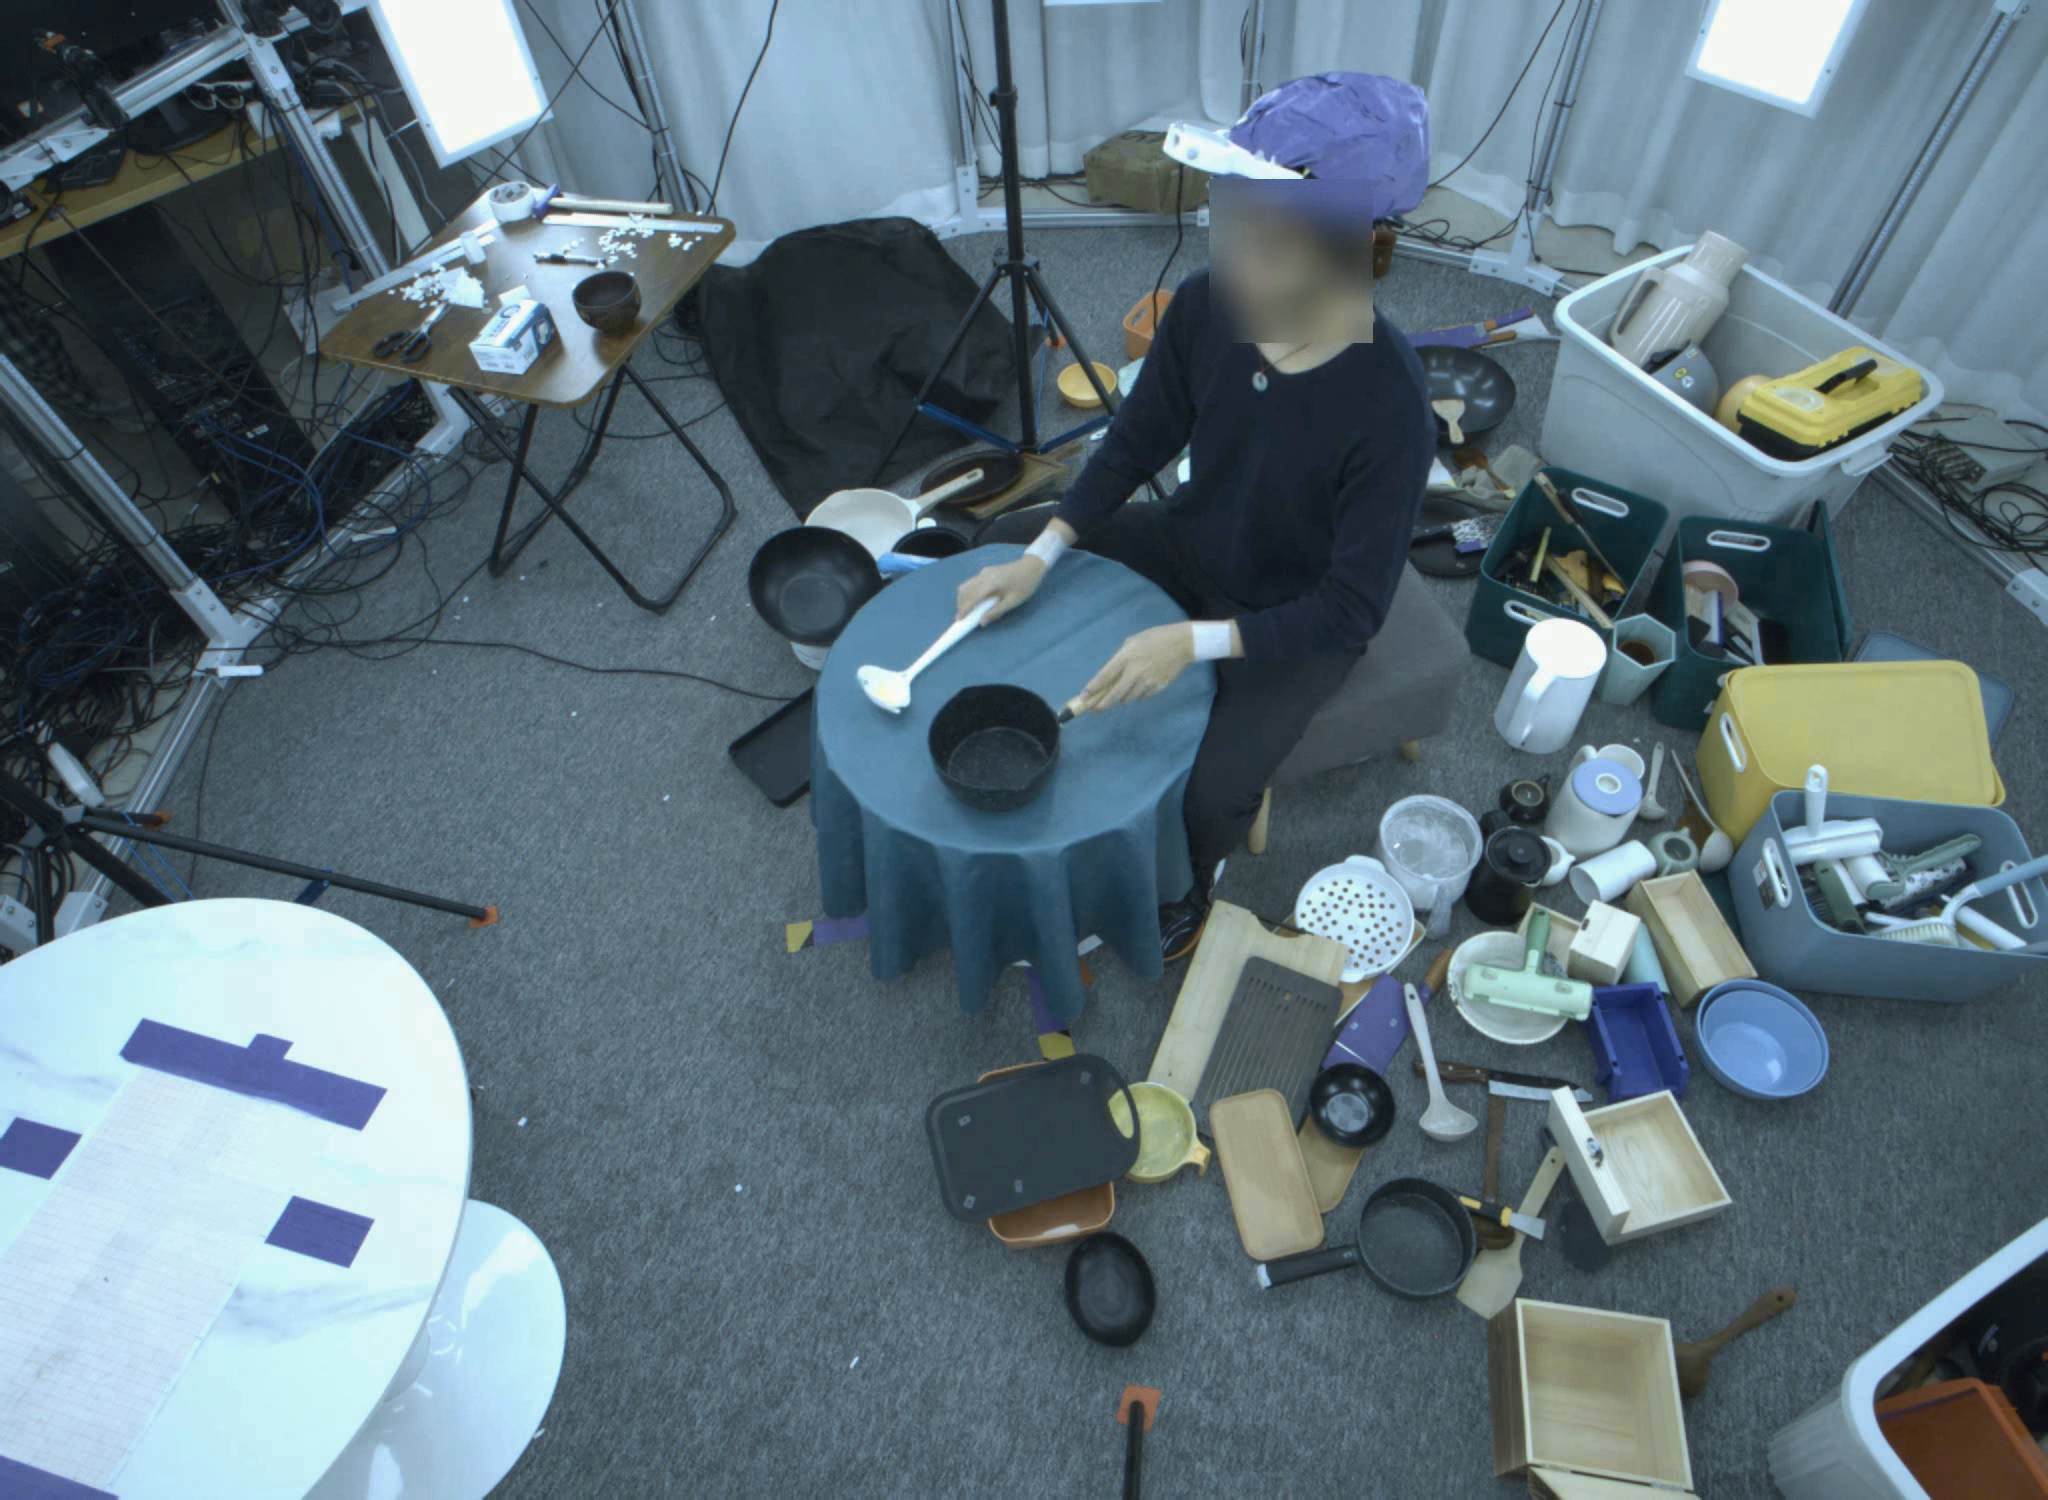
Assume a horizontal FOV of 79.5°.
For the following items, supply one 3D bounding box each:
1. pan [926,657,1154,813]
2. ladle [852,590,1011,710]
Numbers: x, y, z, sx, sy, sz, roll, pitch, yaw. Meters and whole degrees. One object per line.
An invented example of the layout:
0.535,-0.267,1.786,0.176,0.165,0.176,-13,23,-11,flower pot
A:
0.030,-0.035,1.744,0.345,0.109,0.203,-24,56,-13,pan
-0.134,-0.159,1.864,0.295,0.070,0.089,-41,72,-20,ladle
